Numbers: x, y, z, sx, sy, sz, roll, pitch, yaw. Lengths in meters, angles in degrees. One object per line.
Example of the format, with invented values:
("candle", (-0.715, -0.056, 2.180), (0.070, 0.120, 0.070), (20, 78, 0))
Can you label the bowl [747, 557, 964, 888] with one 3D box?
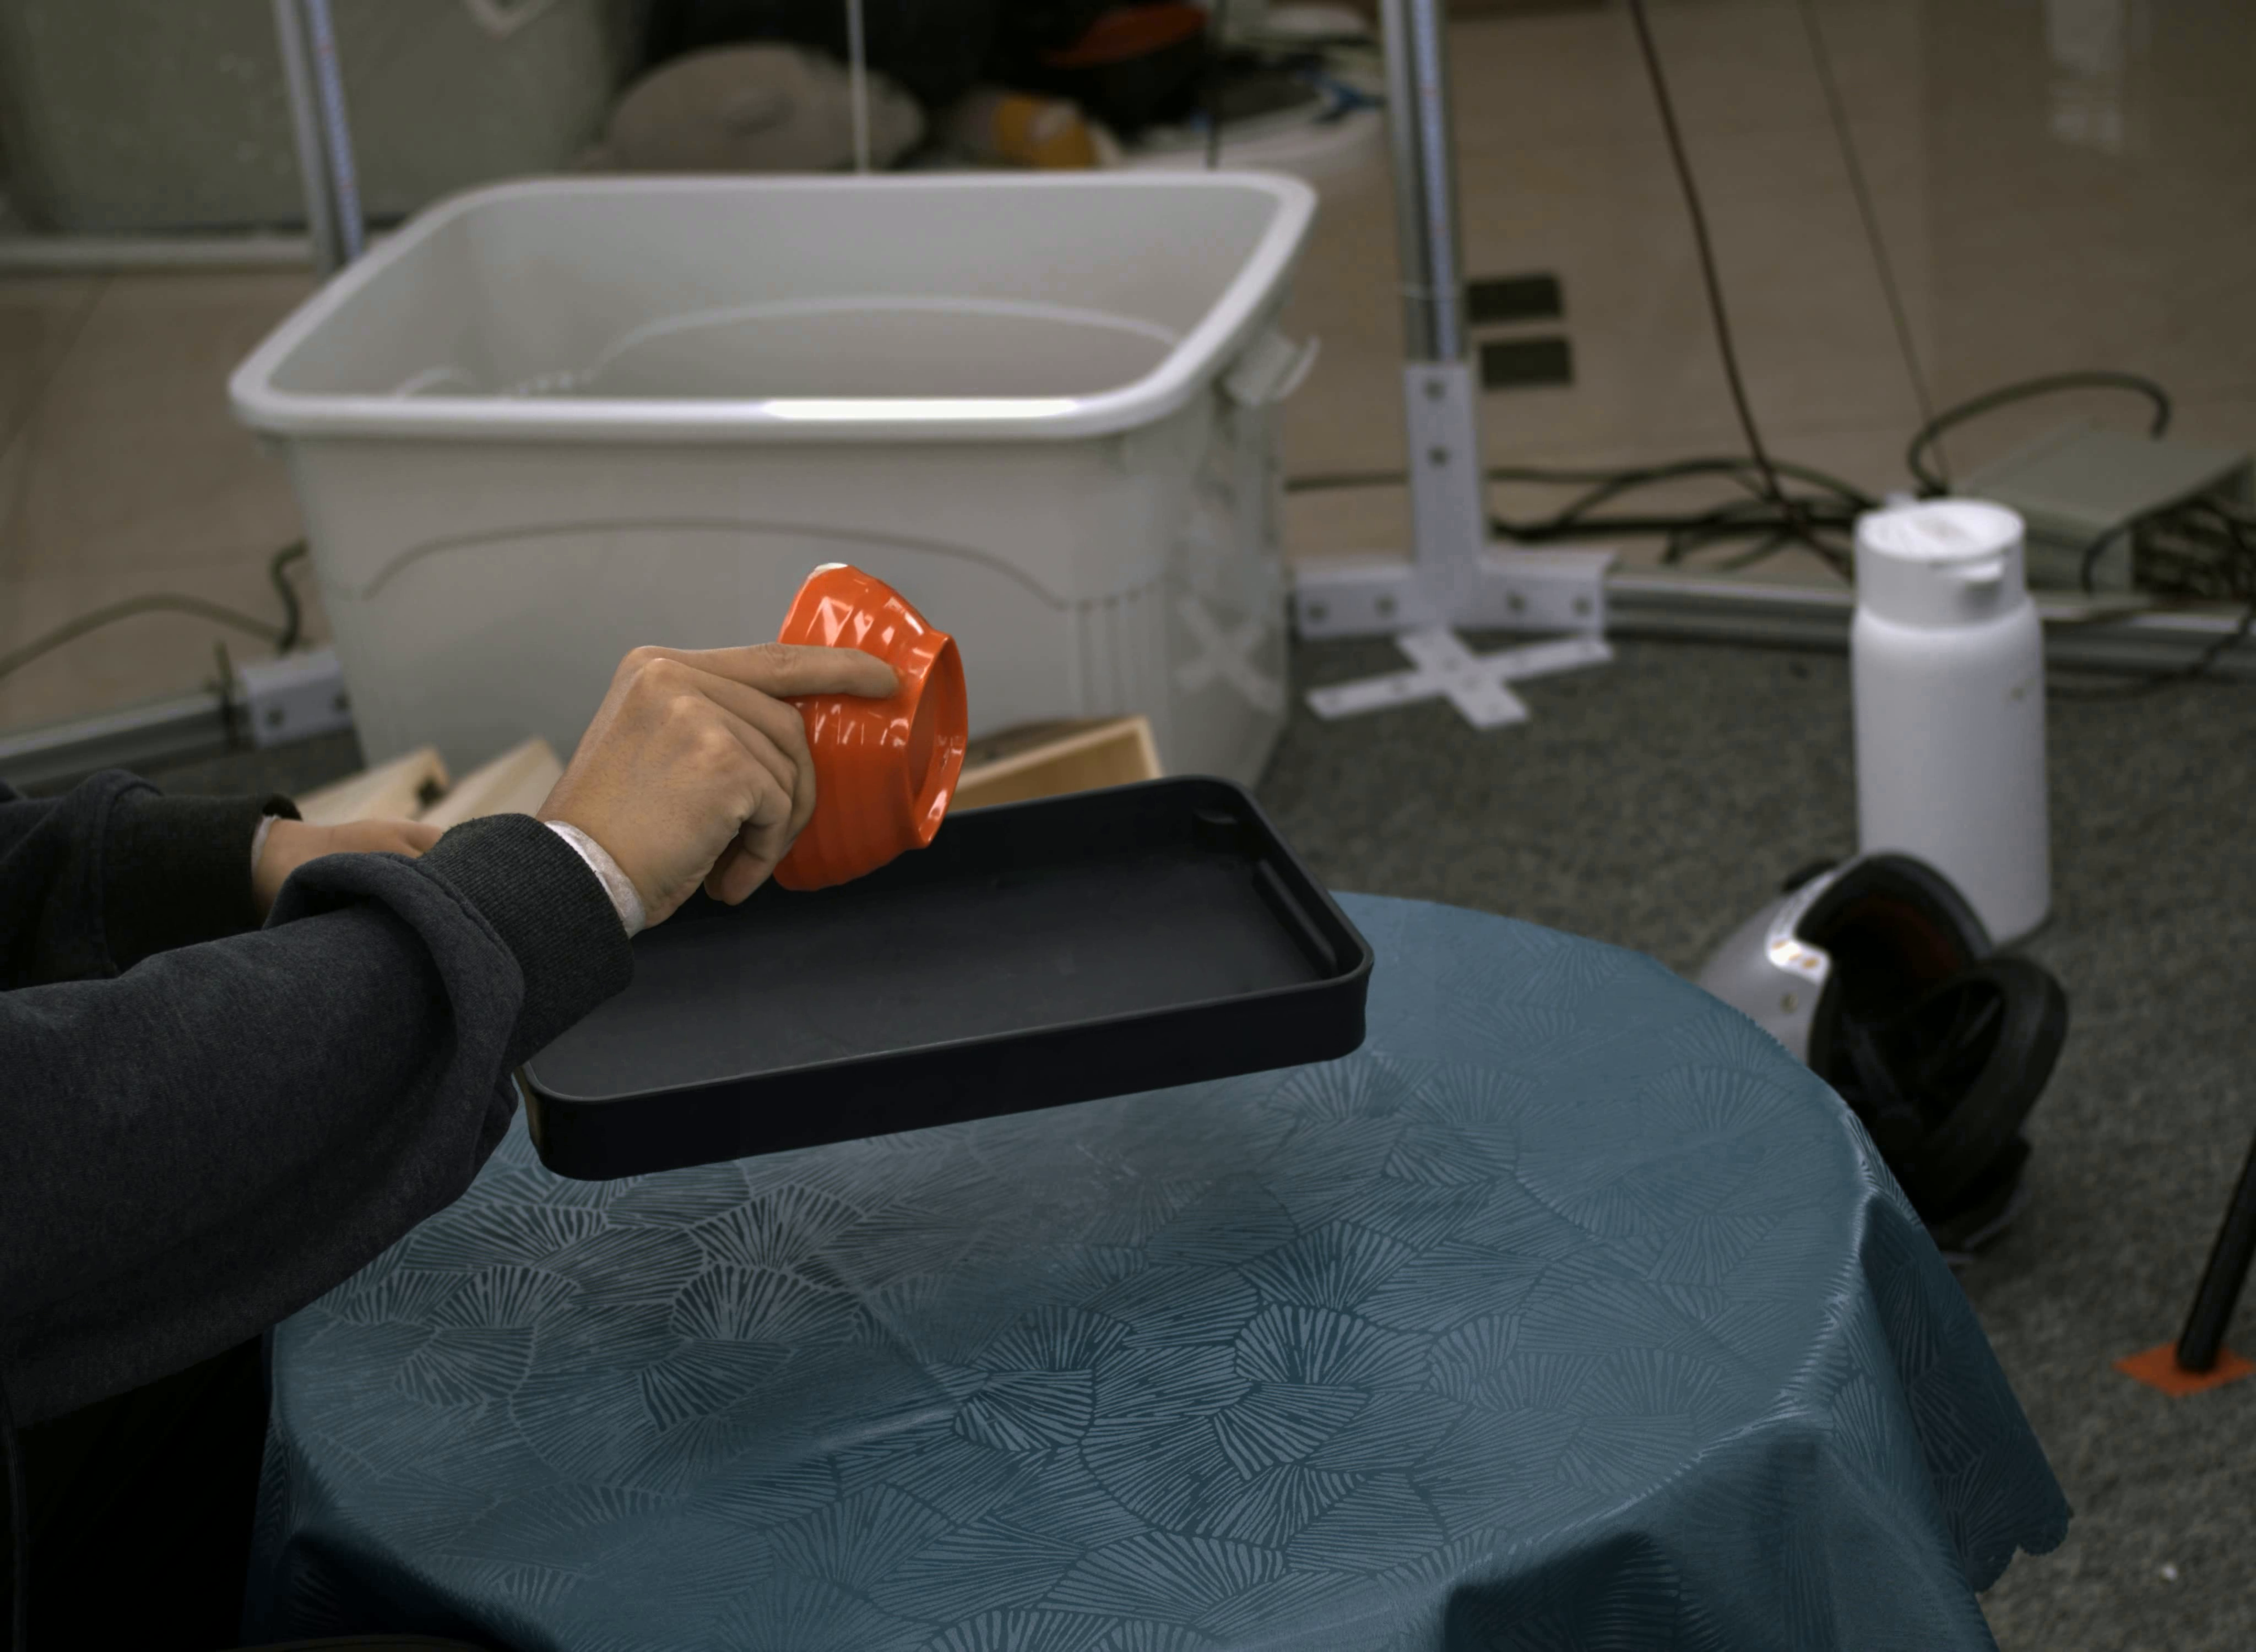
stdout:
("bowl", (-0.093, -0.033, 2.008), (0.051, 0.121, 0.117), (10, 28, 14))

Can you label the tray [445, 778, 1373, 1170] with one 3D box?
("tray", (-0.083, 0.051, 2.107), (0.317, 0.037, 0.181), (-8, 28, -16))
